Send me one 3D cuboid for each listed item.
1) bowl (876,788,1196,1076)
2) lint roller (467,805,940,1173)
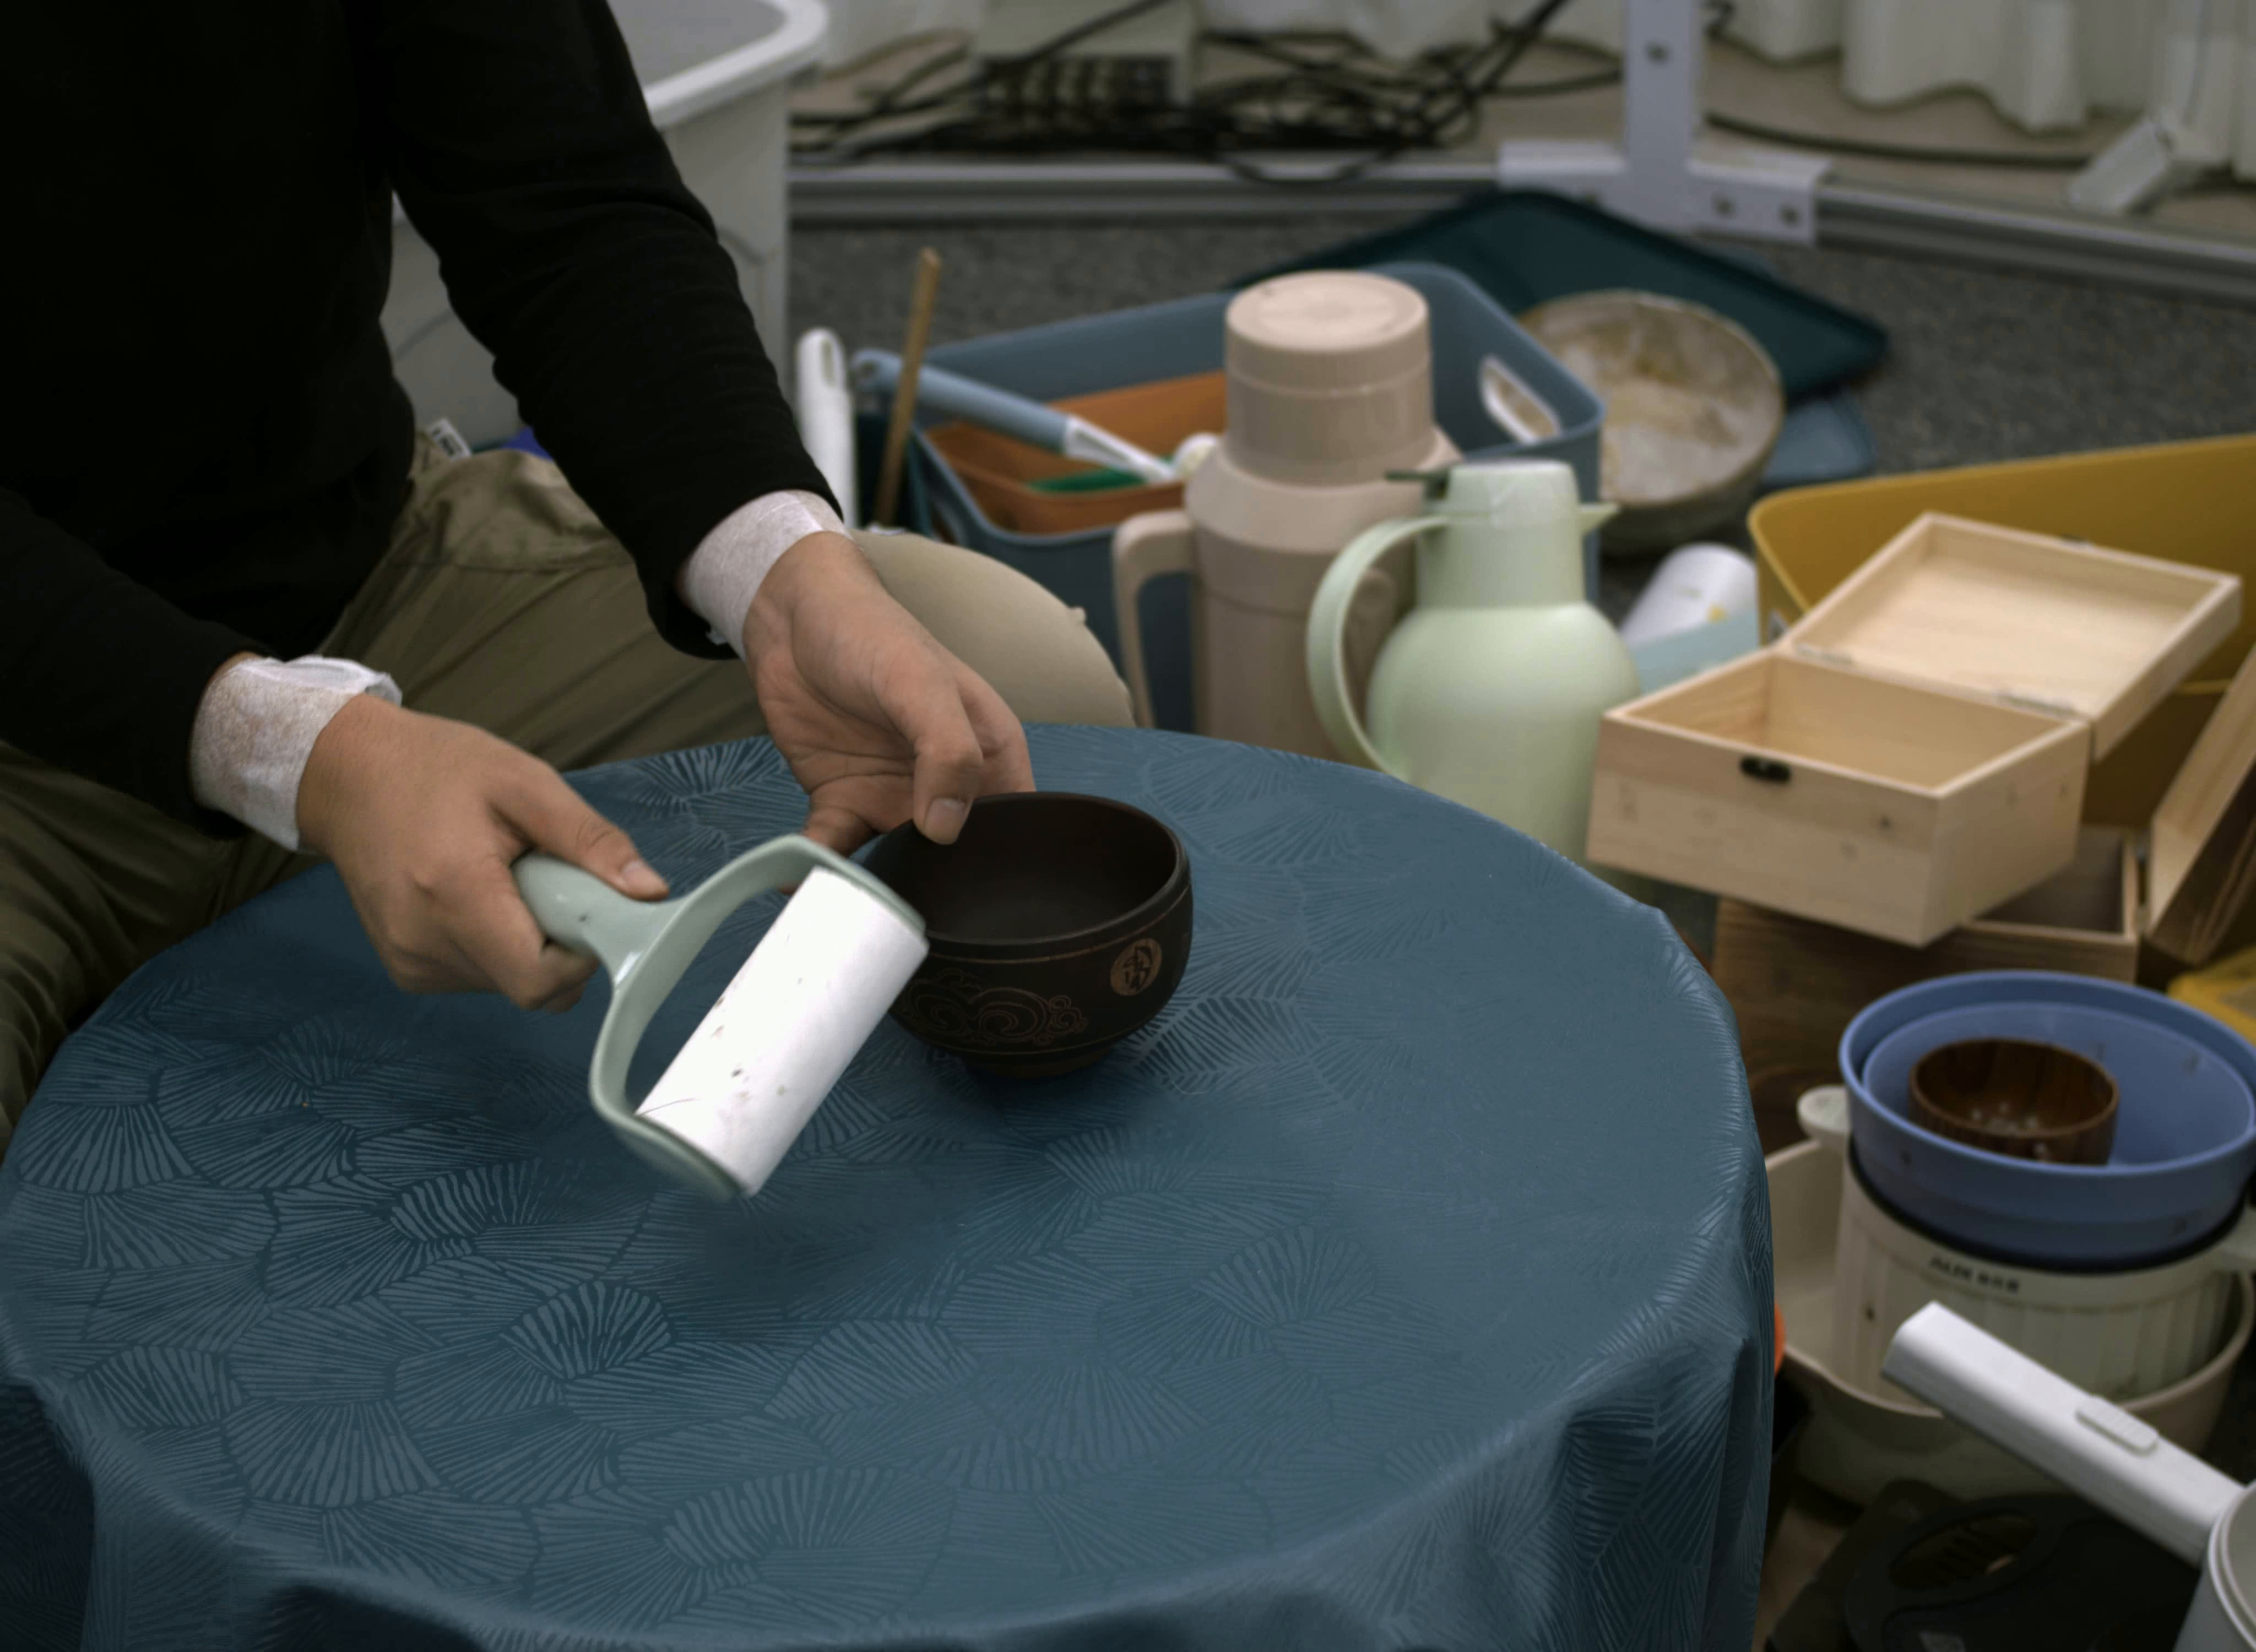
[{"bbox_3d":[-0.034,0.043,1.938,0.117,0.069,0.120,-4,25,2],"label":"bowl"},{"bbox_3d":[-0.158,0.033,1.864,0.197,0.048,0.118,24,75,39],"label":"lint roller"}]
